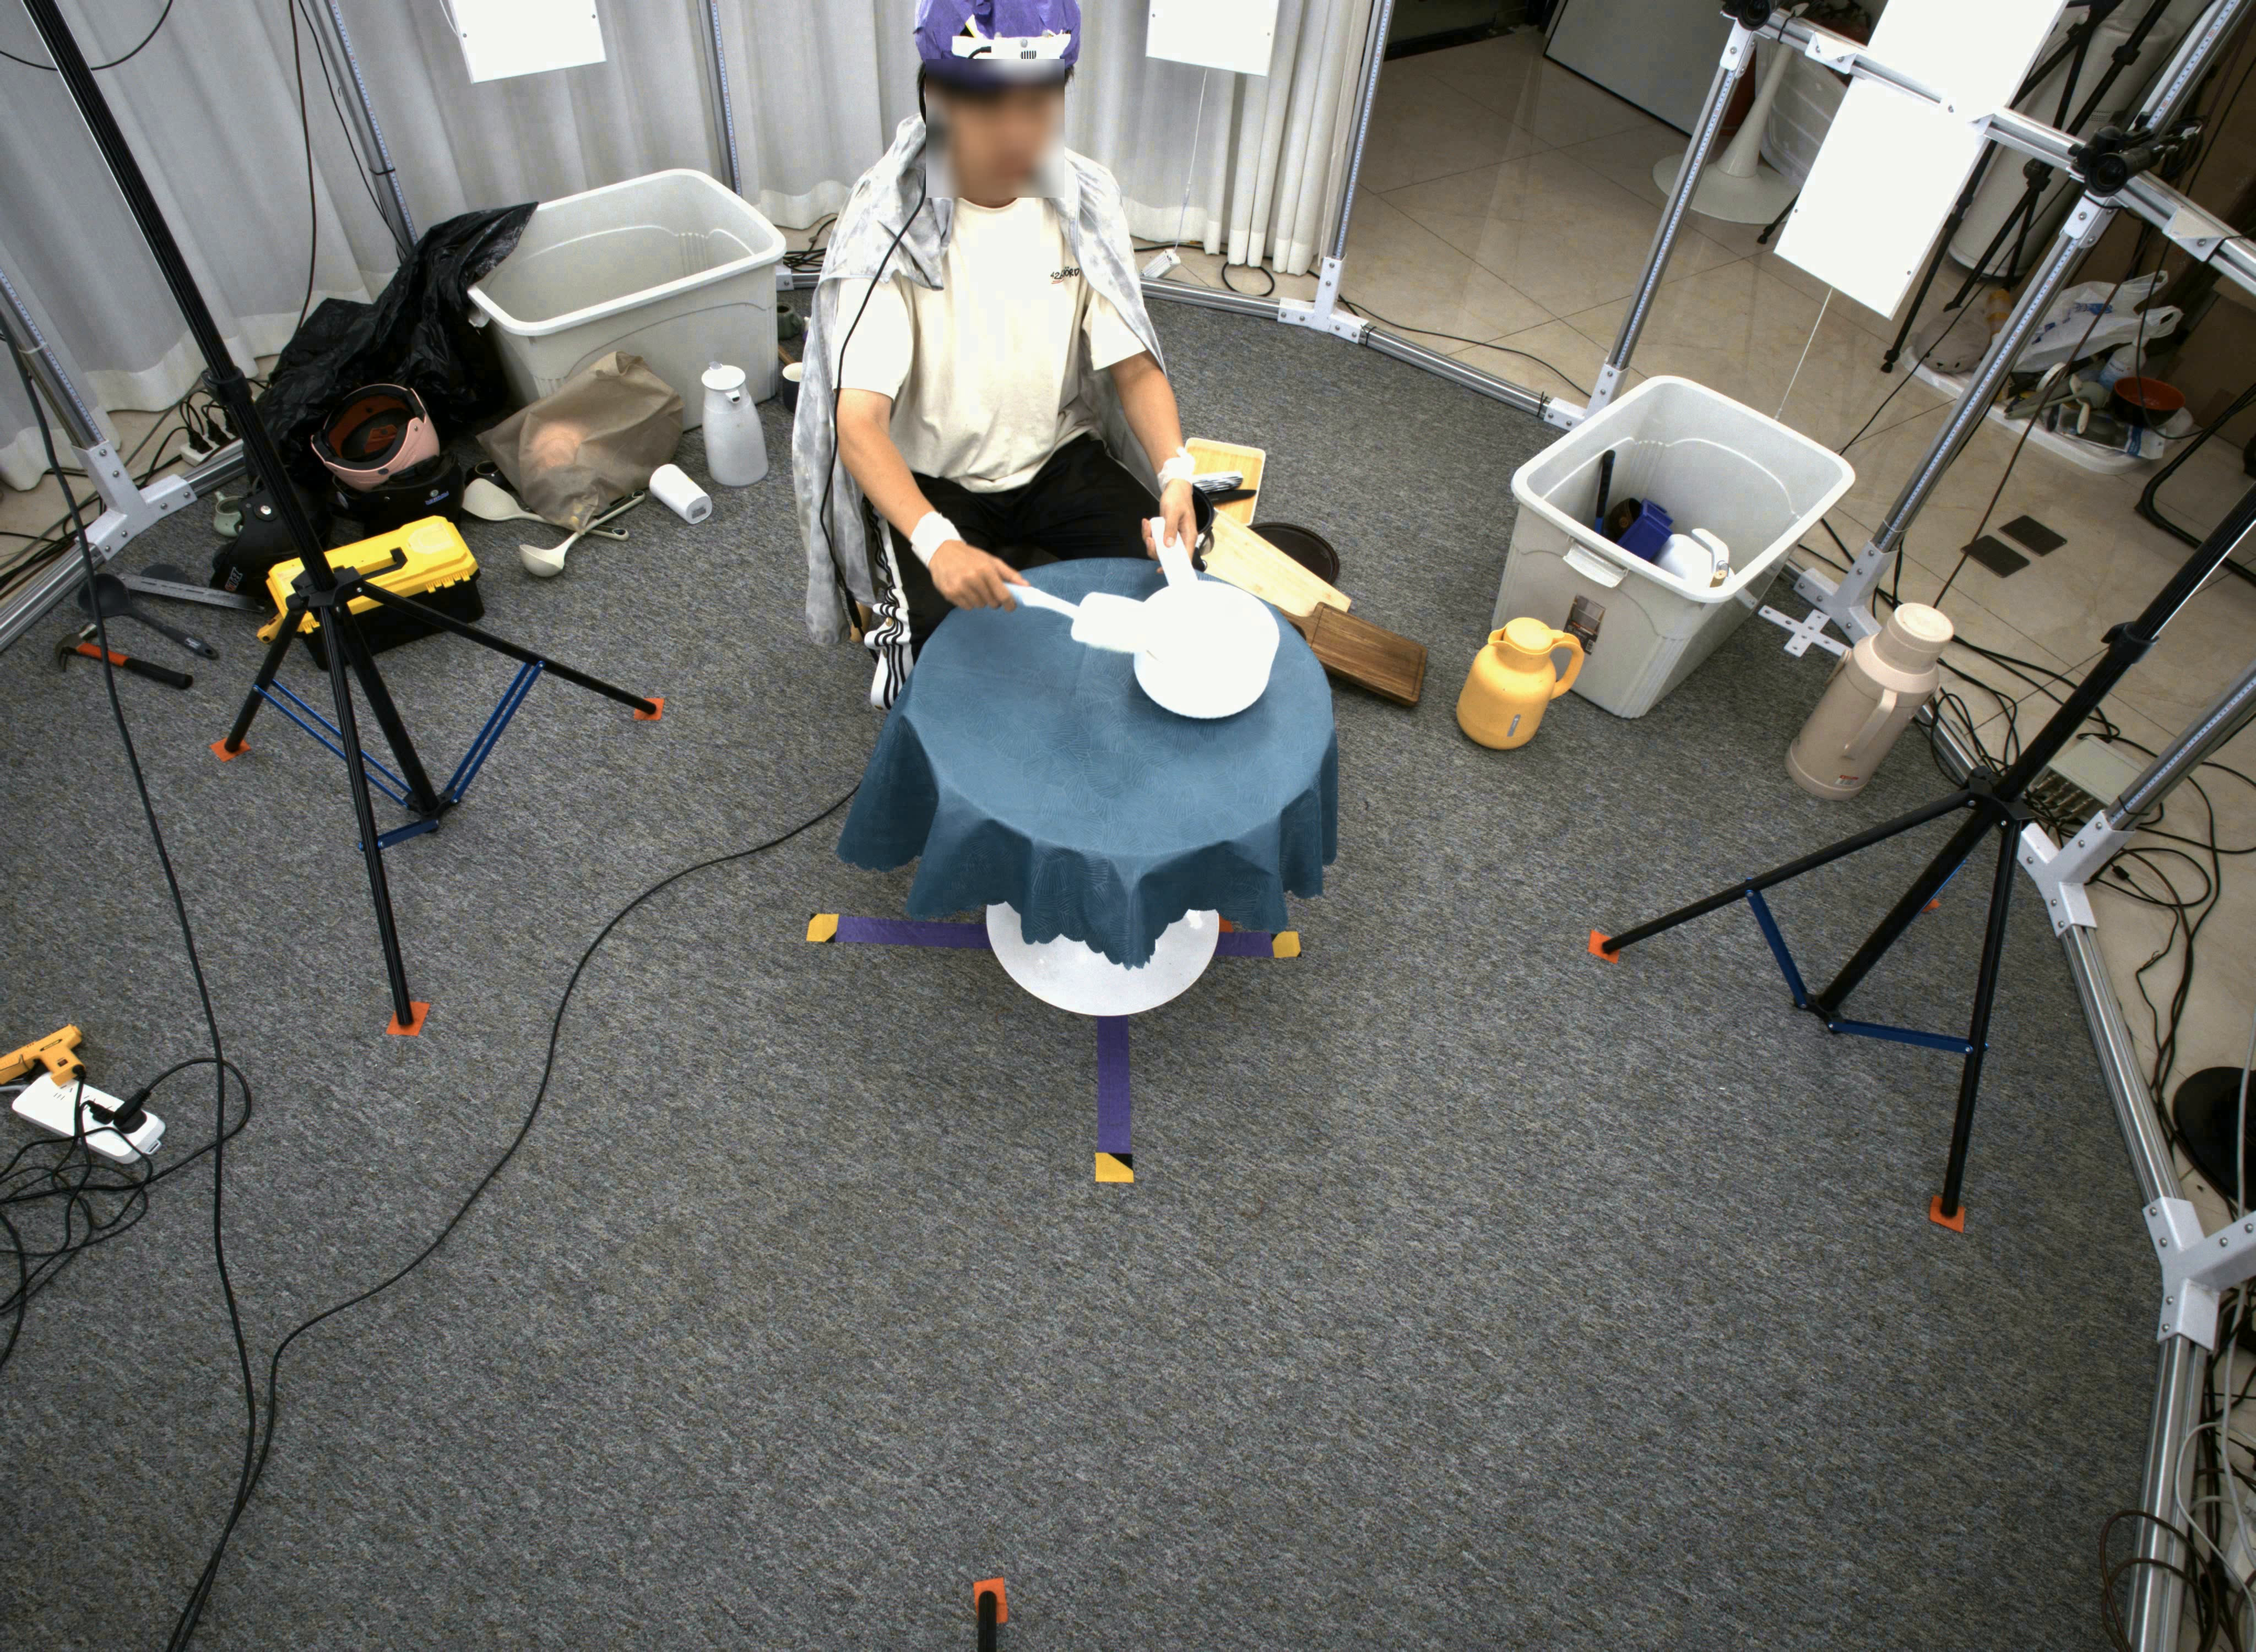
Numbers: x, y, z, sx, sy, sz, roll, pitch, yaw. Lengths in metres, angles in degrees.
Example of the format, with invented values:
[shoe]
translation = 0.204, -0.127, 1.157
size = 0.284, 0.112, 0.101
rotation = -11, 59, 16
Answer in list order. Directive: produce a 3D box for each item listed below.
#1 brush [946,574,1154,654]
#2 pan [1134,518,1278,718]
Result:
[brush]
translation = -0.103, -0.294, 1.754
size = 0.328, 0.082, 0.084
rotation = 17, 44, 29
[pan]
translation = 0.088, -0.302, 1.866
size = 0.201, 0.099, 0.364
rotation = -8, 49, -11
